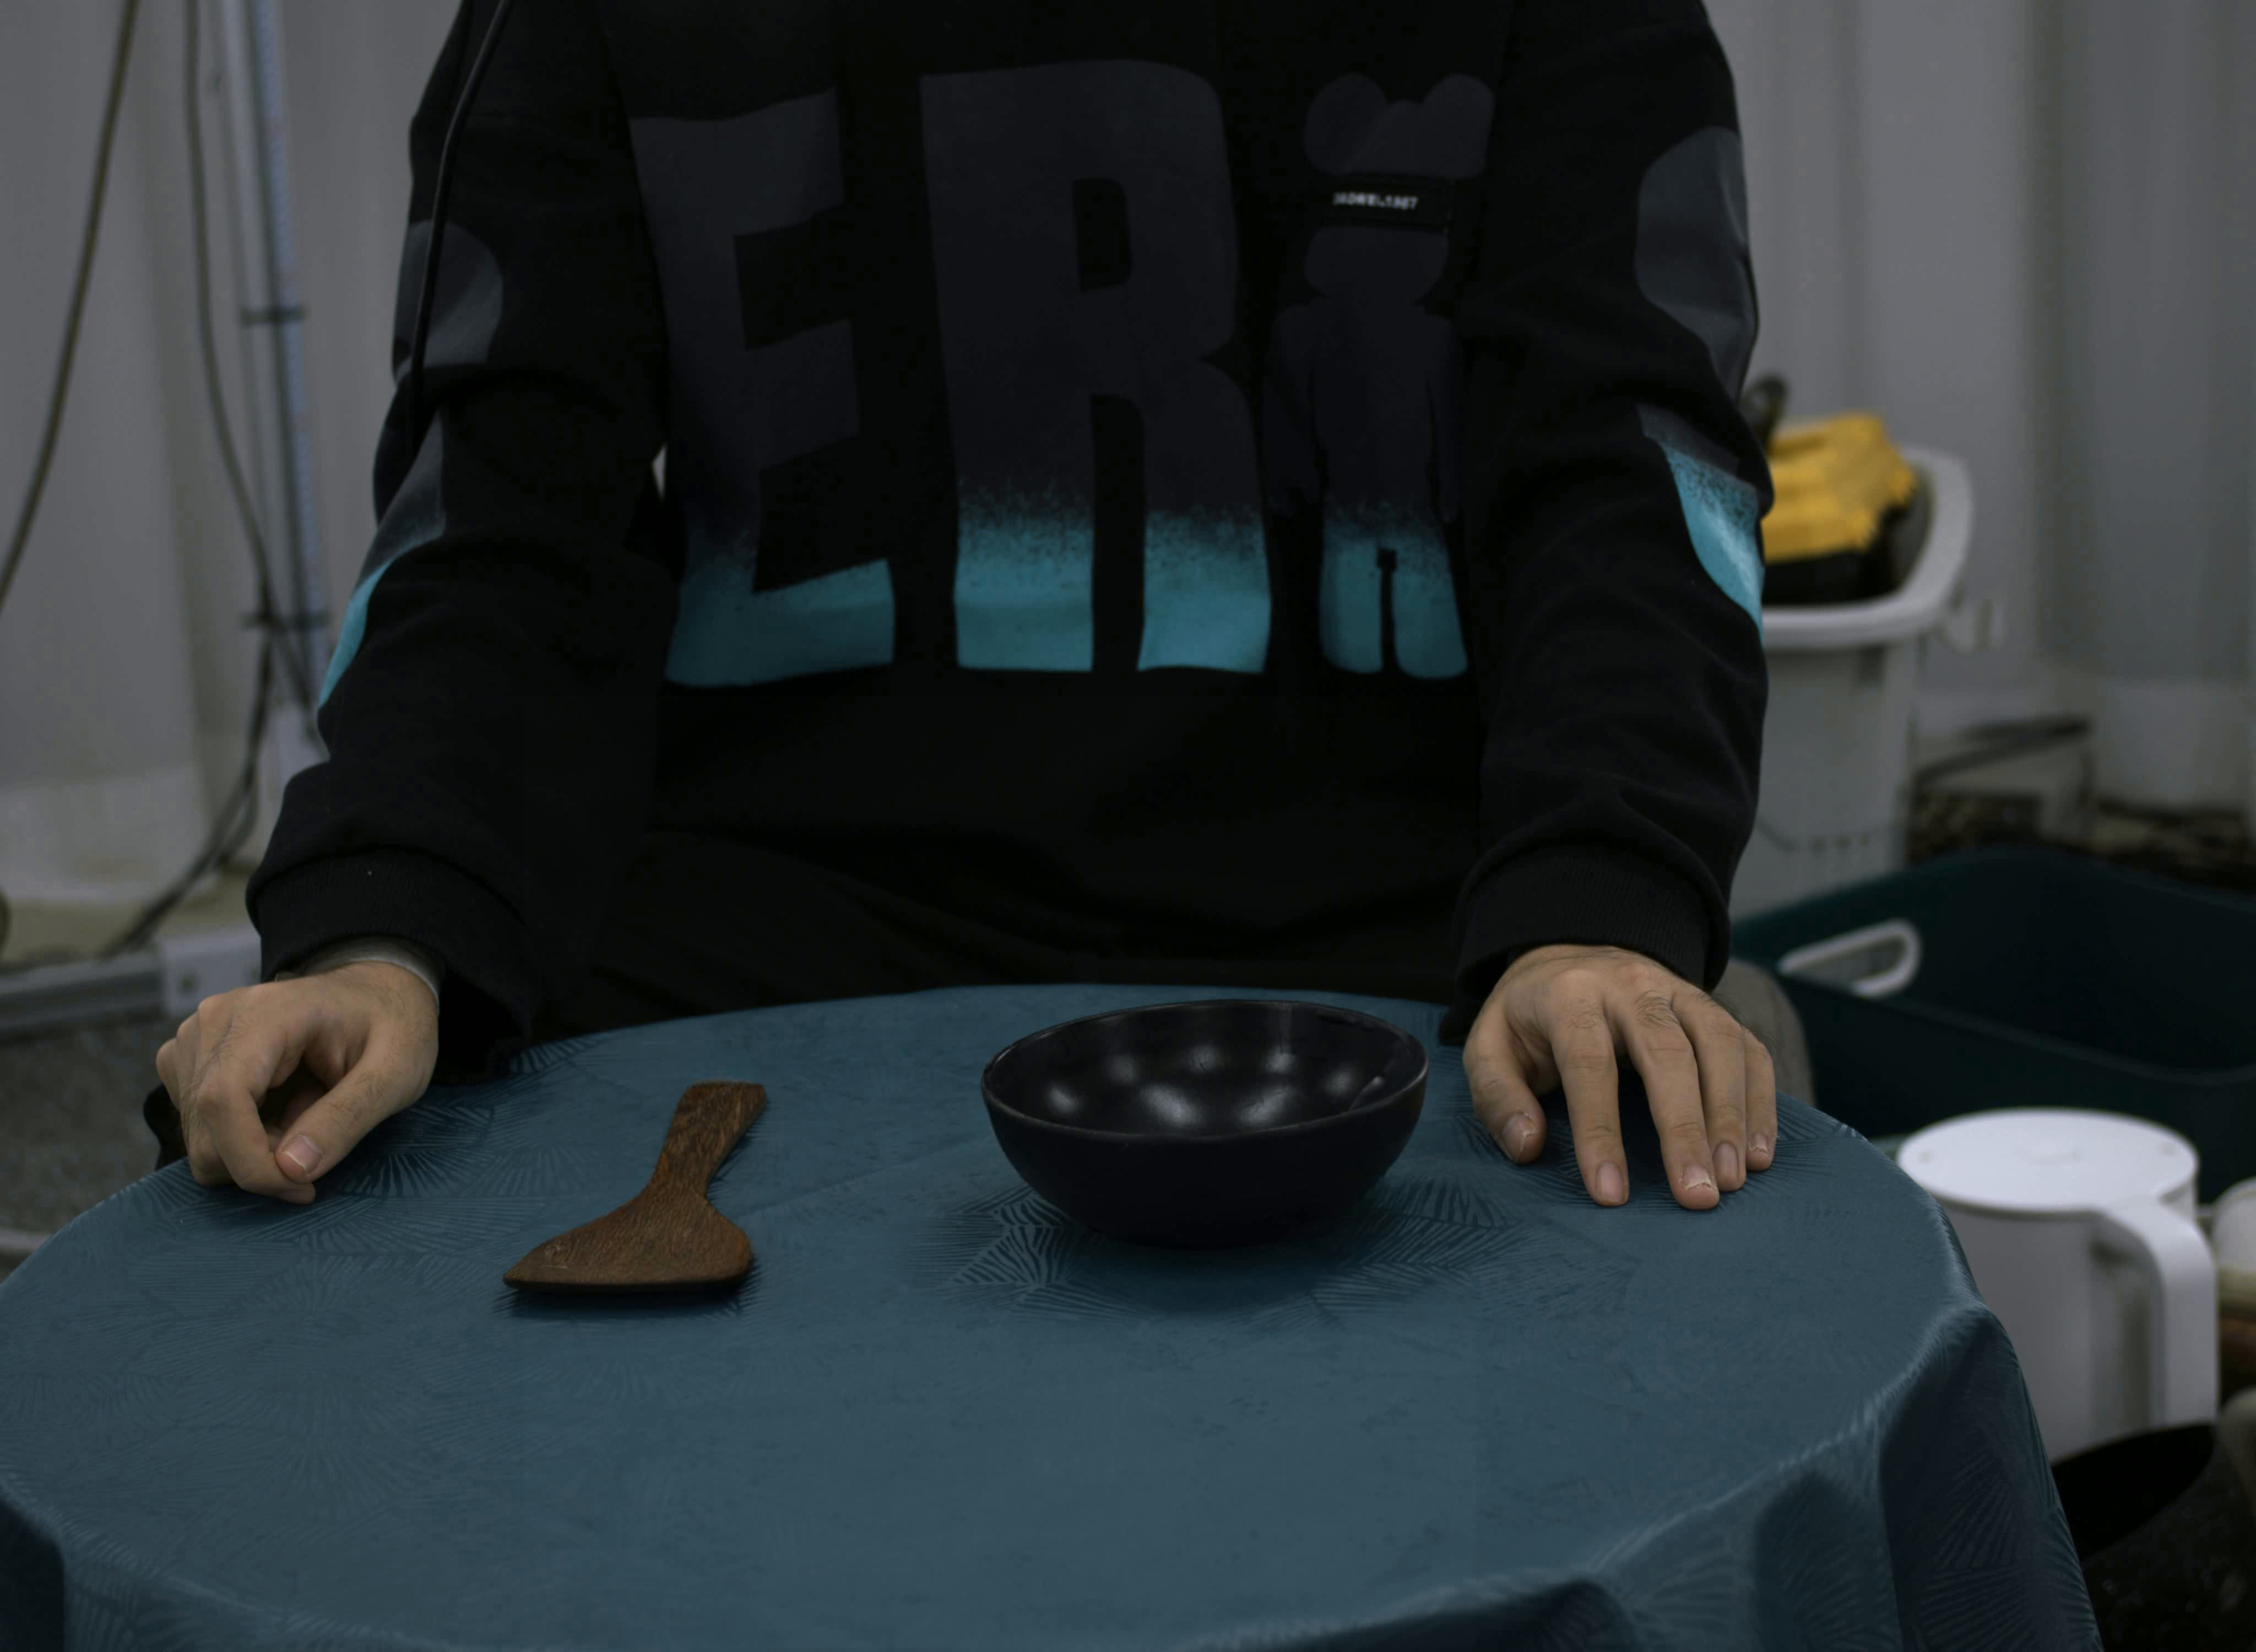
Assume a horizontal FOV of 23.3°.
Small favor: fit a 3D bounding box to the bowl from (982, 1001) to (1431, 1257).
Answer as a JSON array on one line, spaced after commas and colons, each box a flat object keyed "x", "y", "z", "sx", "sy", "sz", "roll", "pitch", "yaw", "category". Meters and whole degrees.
[{"x": 0.026, "y": 0.098, "z": 1.683, "sx": 0.139, "sy": 0.049, "sz": 0.141, "roll": -5, "pitch": 14, "yaw": 1, "category": "bowl"}]

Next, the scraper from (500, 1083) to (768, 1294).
[{"x": -0.143, "y": 0.114, "z": 1.728, "sx": 0.075, "sy": 0.011, "sz": 0.212, "roll": 0, "pitch": 14, "yaw": 6, "category": "scraper"}]
